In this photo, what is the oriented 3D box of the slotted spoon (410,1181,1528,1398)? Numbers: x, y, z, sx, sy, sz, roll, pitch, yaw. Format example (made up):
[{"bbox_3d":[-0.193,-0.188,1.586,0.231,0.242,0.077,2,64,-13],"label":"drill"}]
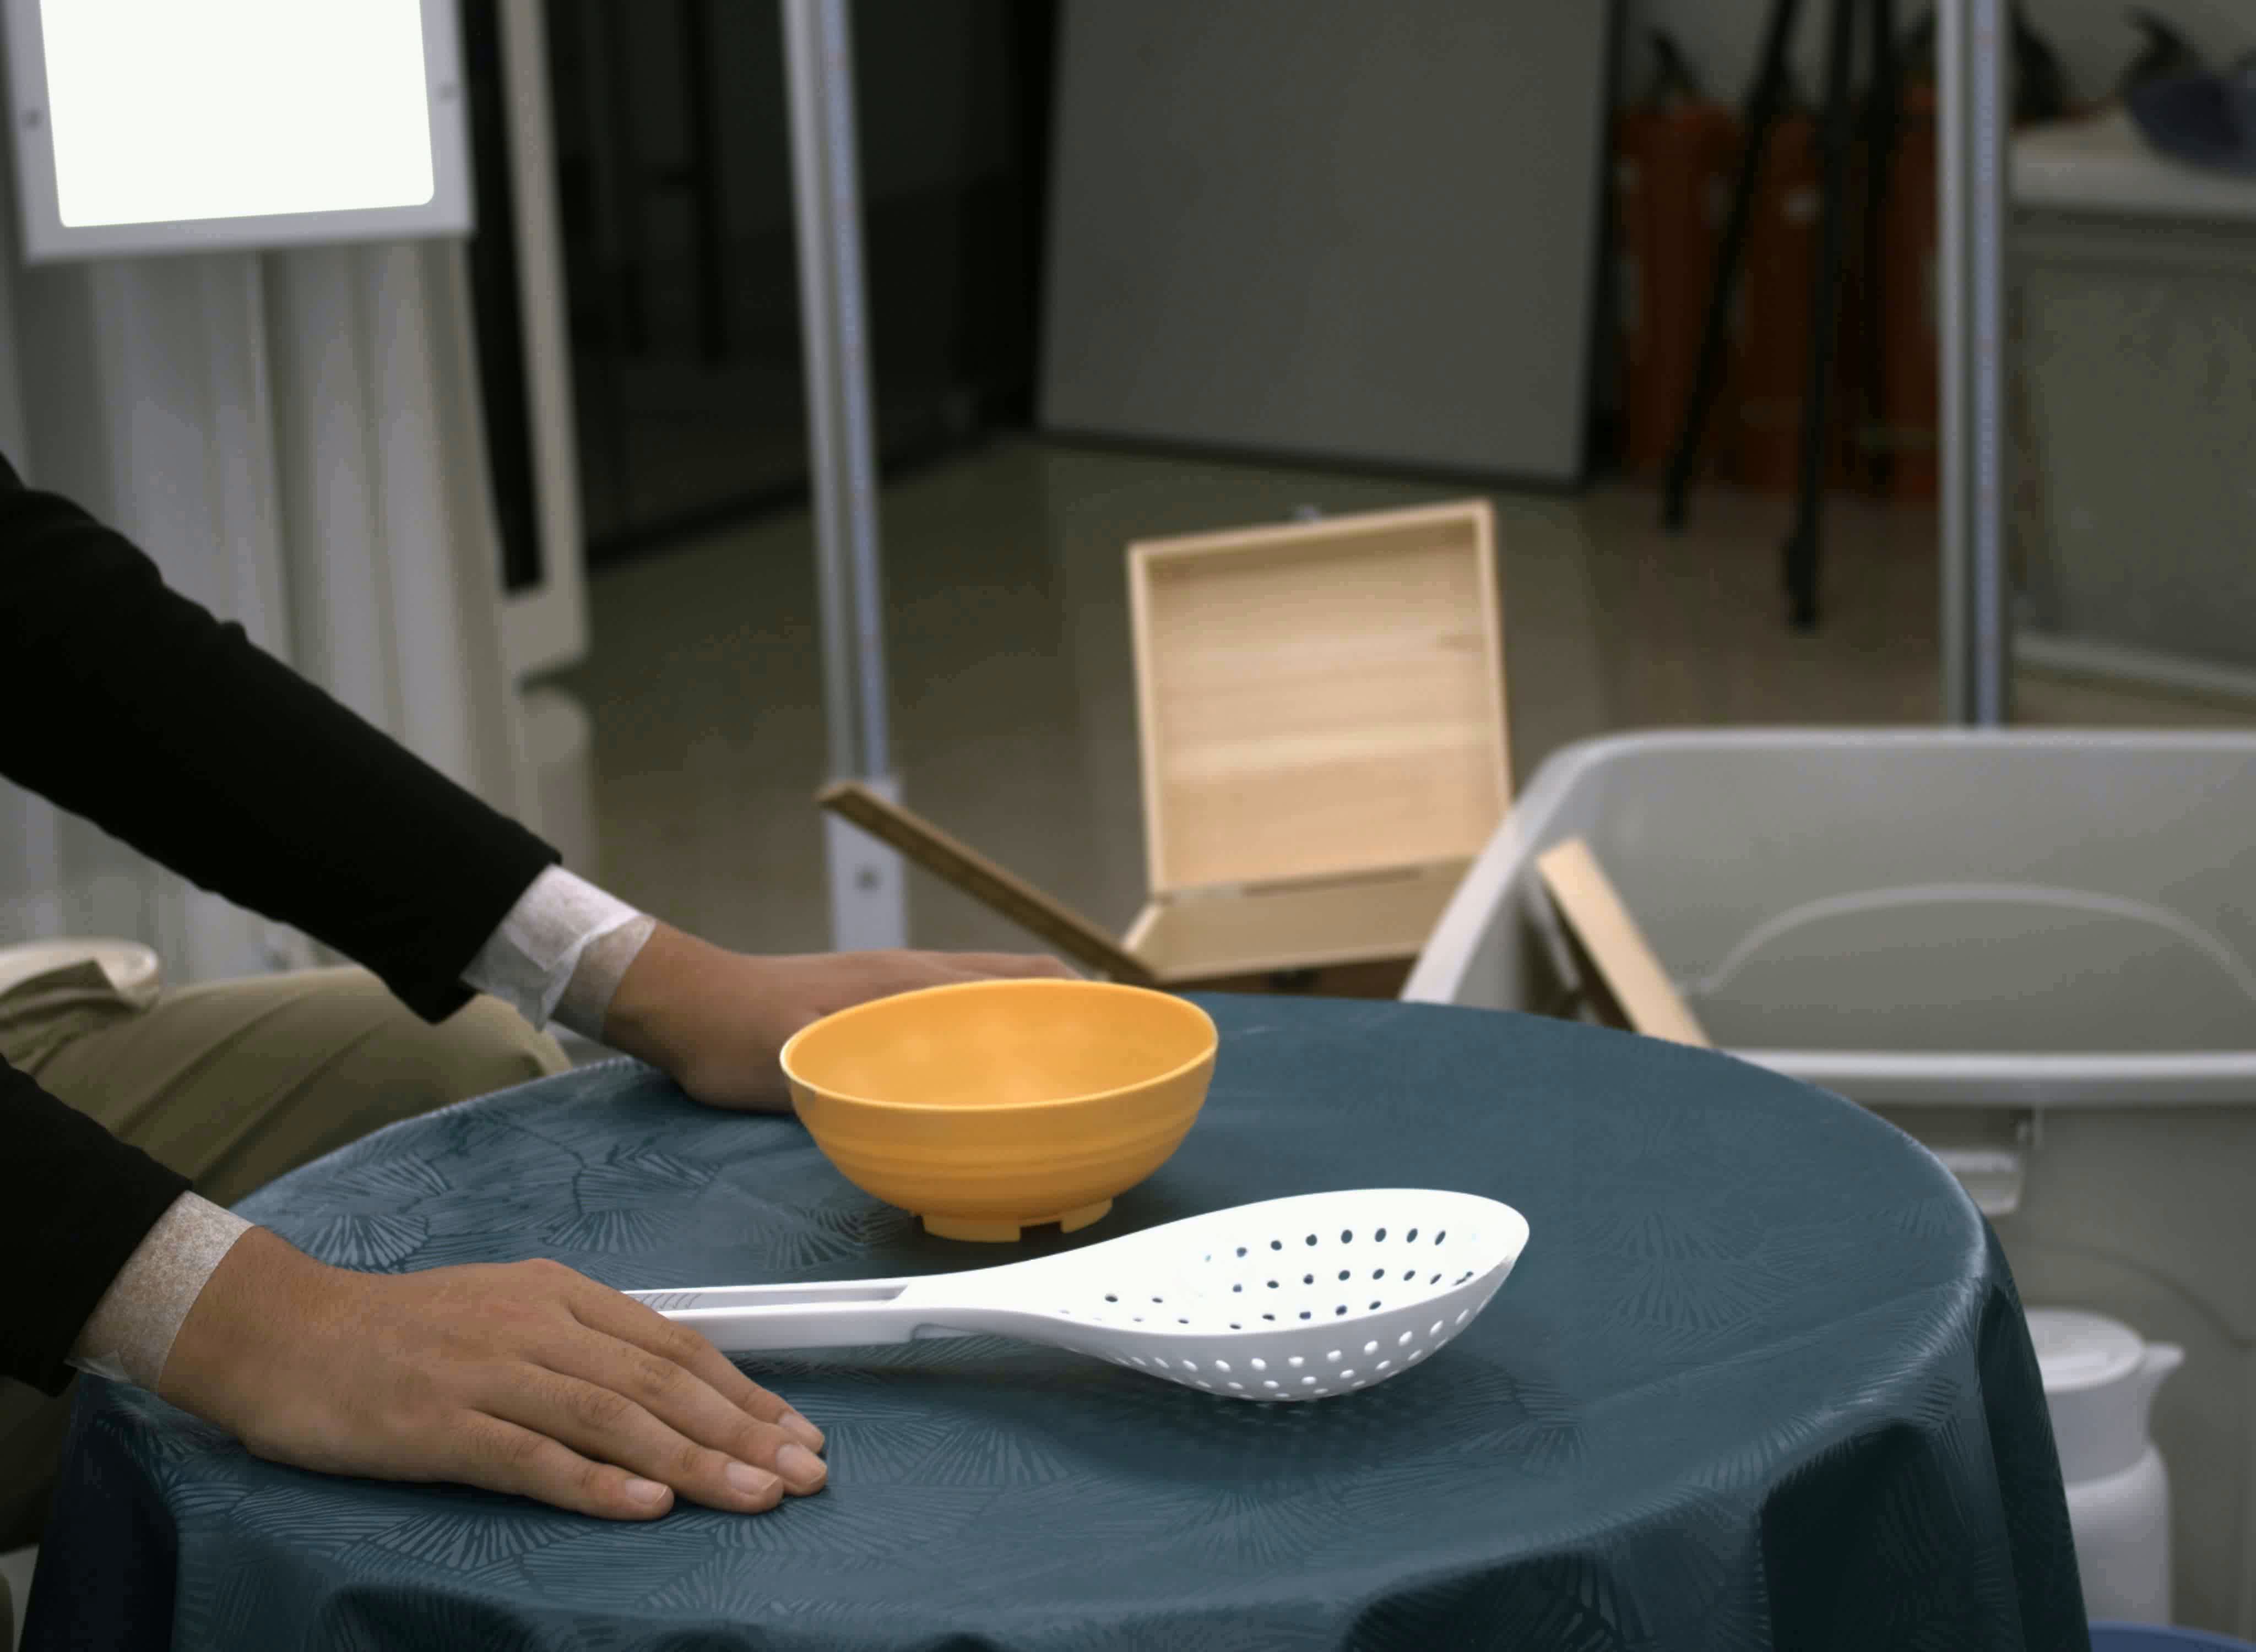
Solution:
[{"bbox_3d":[-0.051,0.142,1.603,0.348,0.046,0.135,-1,13,17],"label":"slotted spoon"}]

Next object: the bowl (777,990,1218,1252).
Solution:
[{"bbox_3d":[-0.041,0.100,1.752,0.143,0.061,0.145,-2,13,0],"label":"bowl"}]
